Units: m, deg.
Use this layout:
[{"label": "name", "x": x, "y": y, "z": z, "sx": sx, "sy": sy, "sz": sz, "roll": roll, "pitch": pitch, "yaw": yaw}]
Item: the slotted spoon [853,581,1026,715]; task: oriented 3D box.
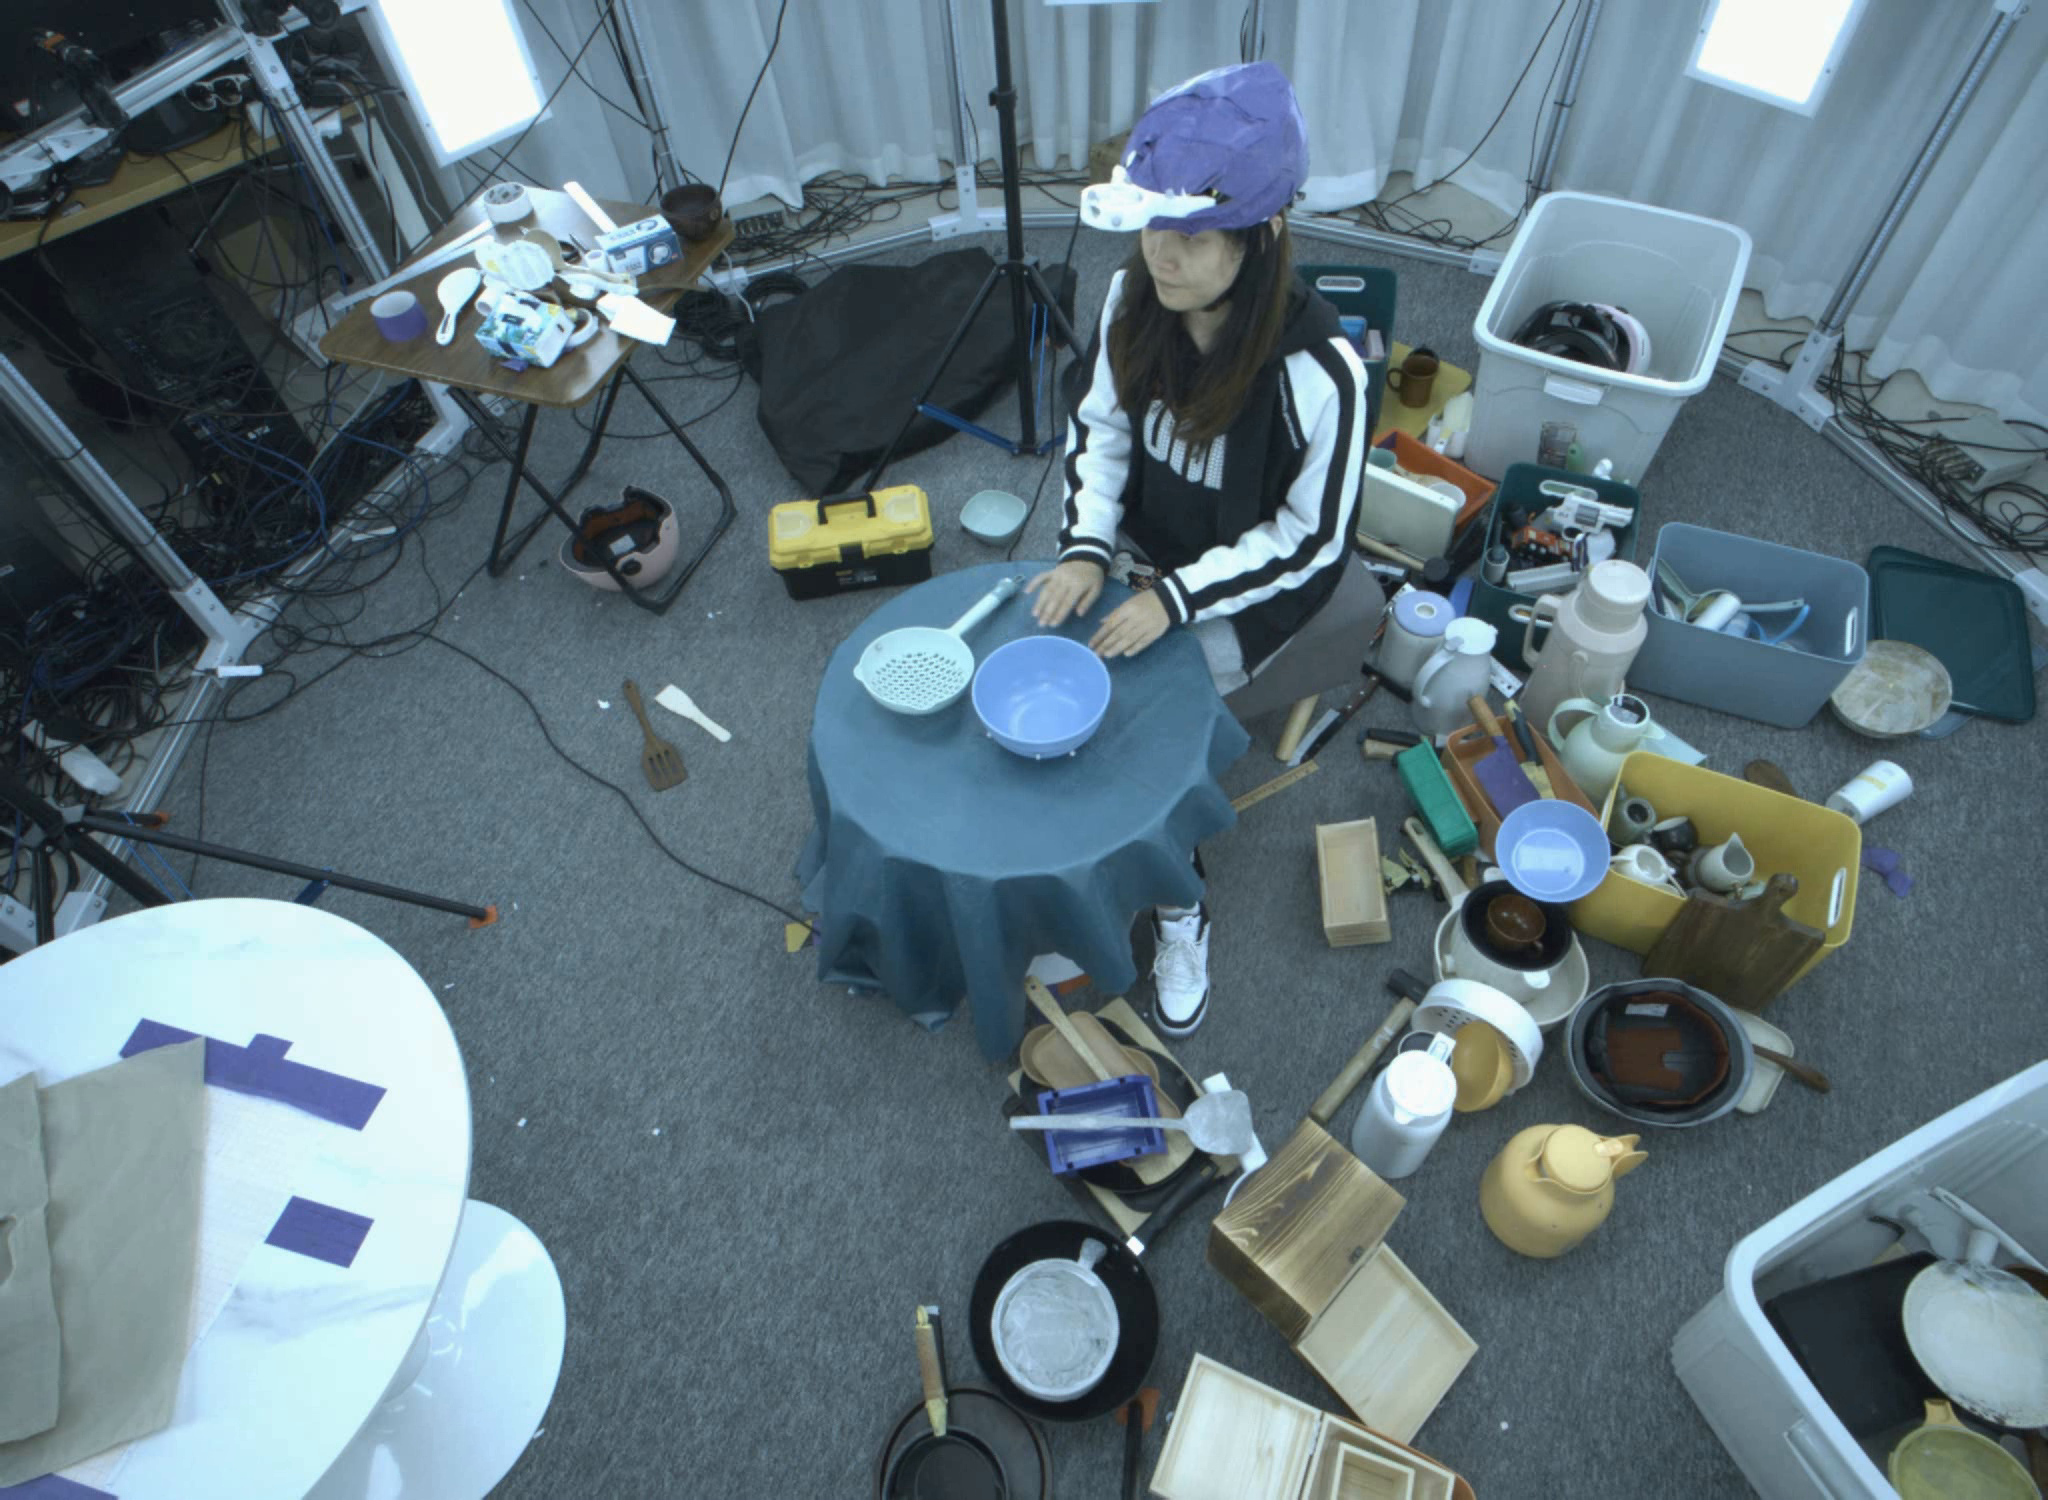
[{"label": "slotted spoon", "x": -0.105, "y": -0.173, "z": 1.878, "sx": 0.167, "sy": 0.076, "sz": 0.360, "roll": 28, "pitch": 59, "yaw": 20}]

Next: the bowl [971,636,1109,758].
[{"label": "bowl", "x": 0.025, "y": -0.061, "z": 1.772, "sx": 0.196, "sy": 0.096, "sz": 0.194, "roll": -1, "pitch": 54, "yaw": 2}]
